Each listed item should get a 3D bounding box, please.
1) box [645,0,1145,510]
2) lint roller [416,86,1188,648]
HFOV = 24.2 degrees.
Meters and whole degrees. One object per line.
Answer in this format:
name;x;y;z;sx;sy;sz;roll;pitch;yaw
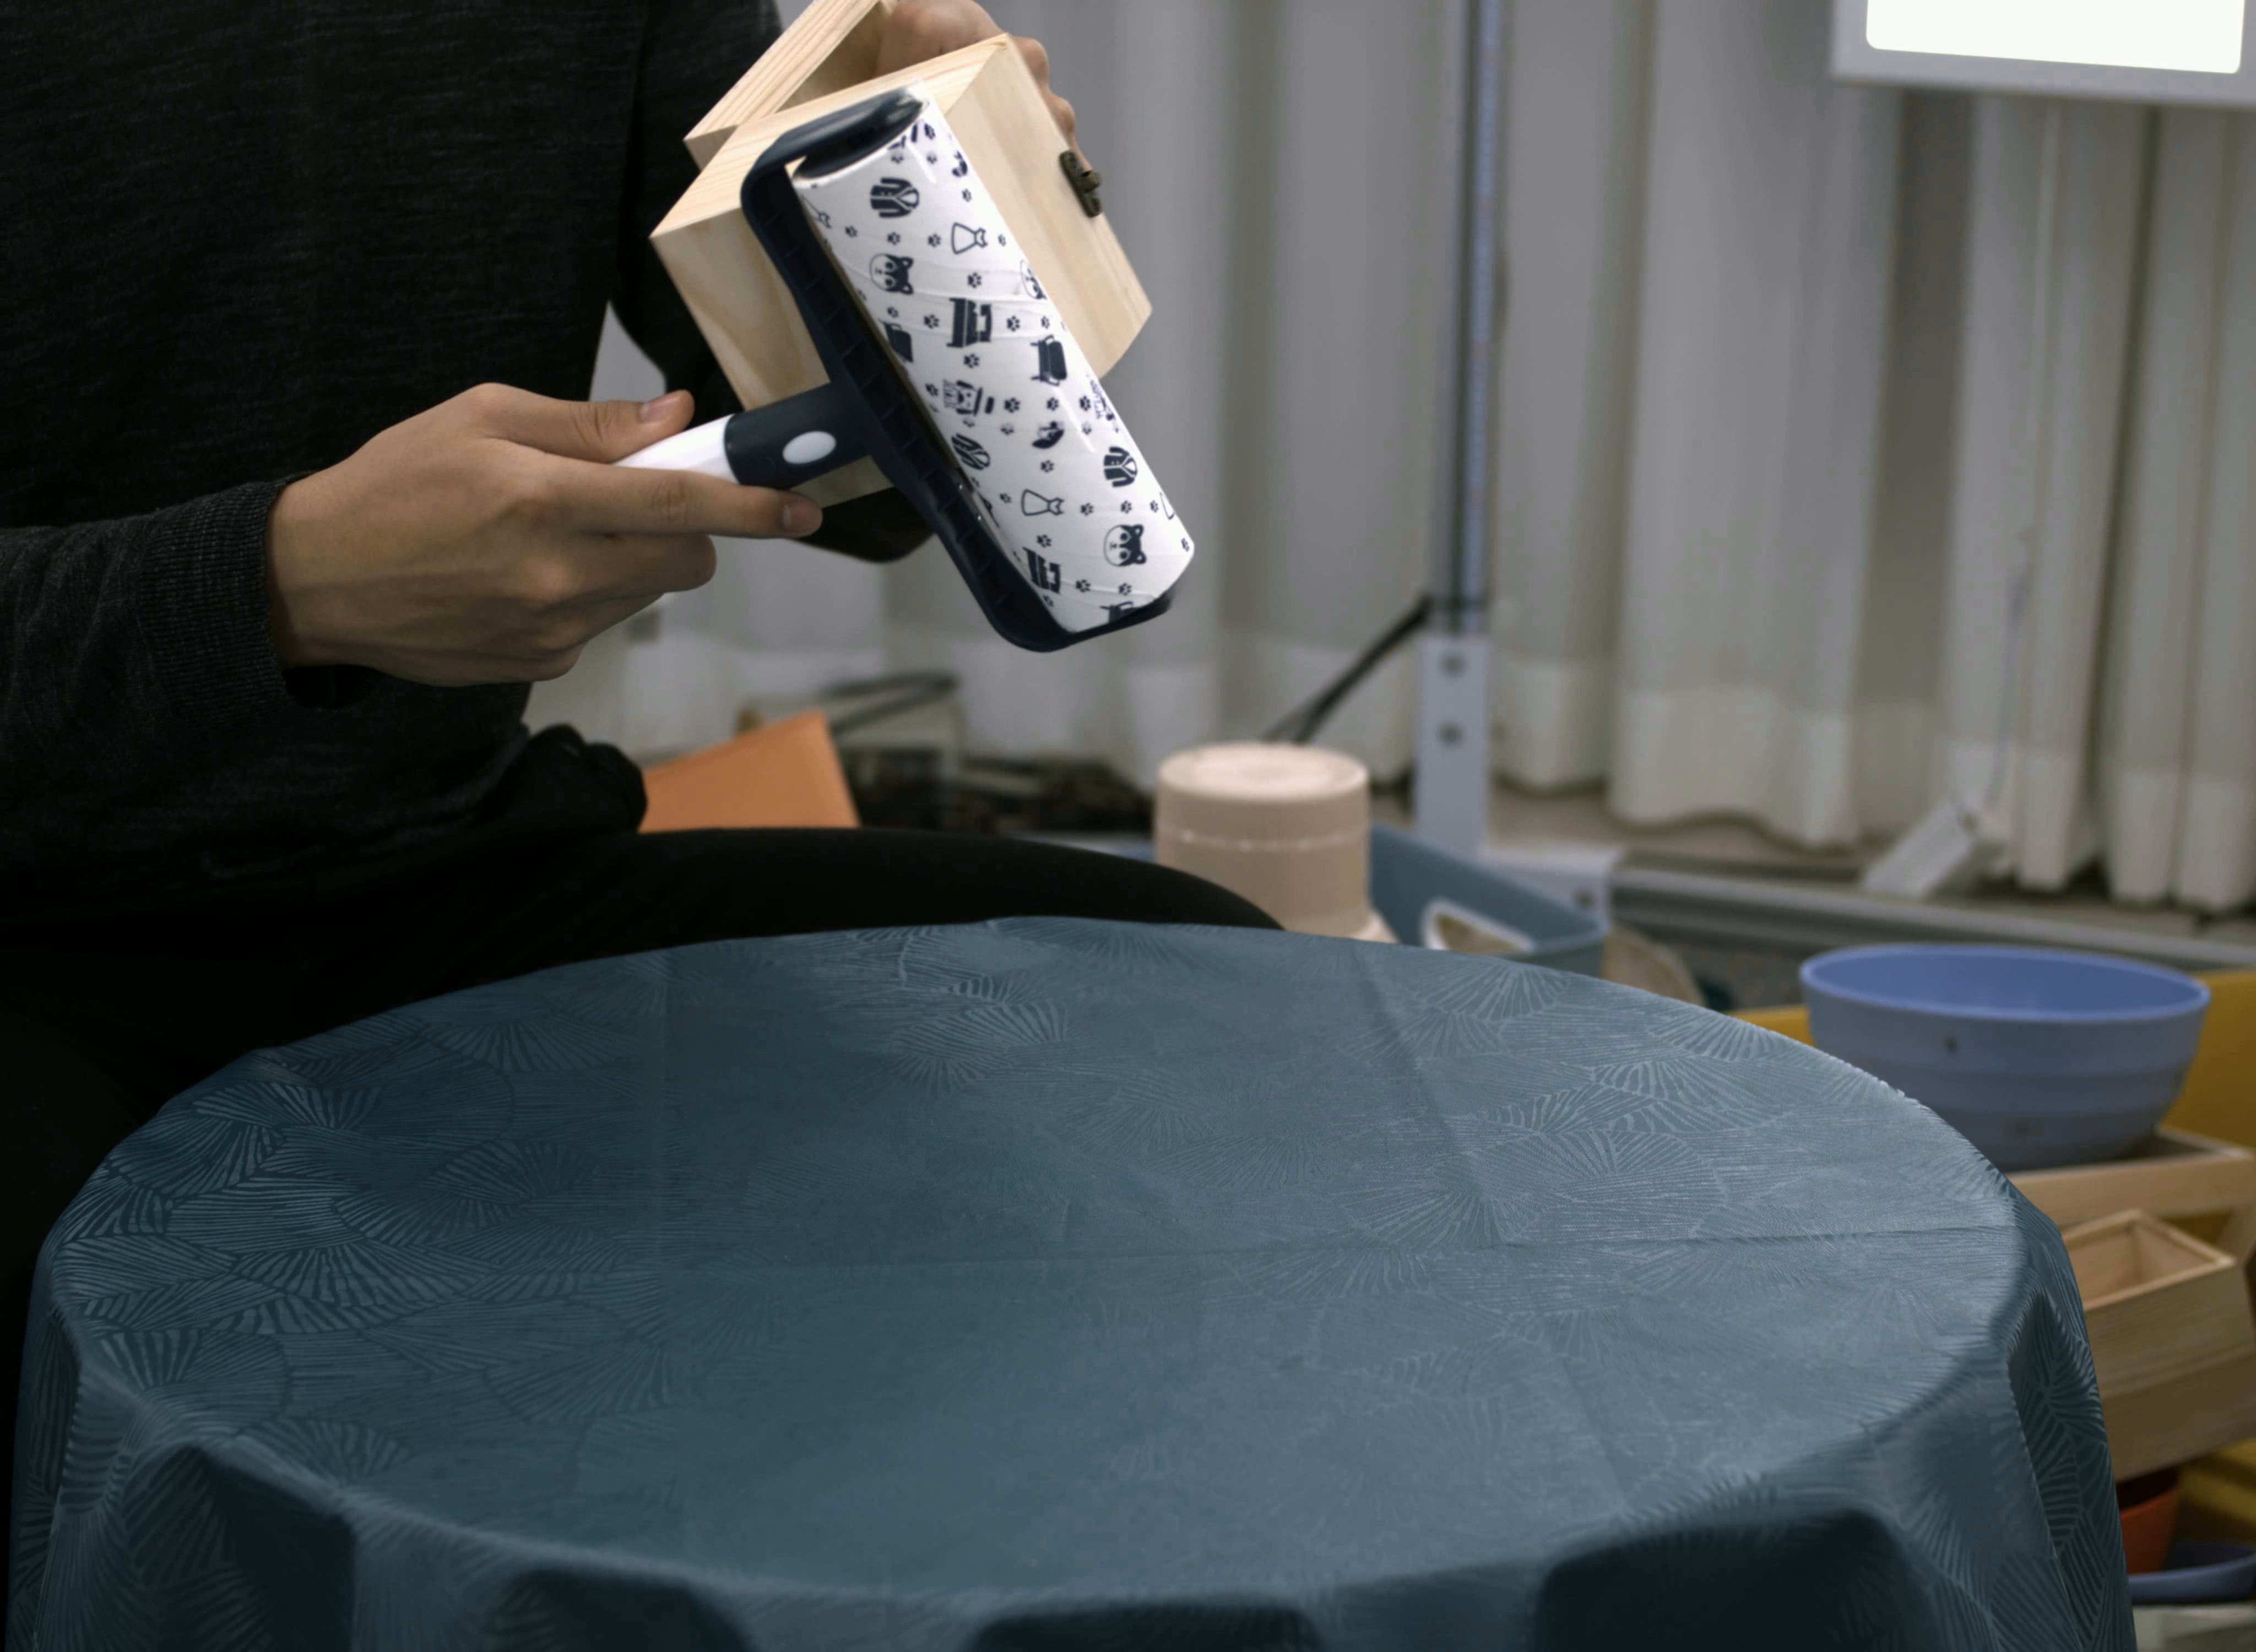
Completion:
box;-0.061;-0.195;1.645;0.133;0.104;0.184;-14;26;29
lint roller;-0.121;-0.106;1.584;0.245;0.178;0.050;-19;26;30
